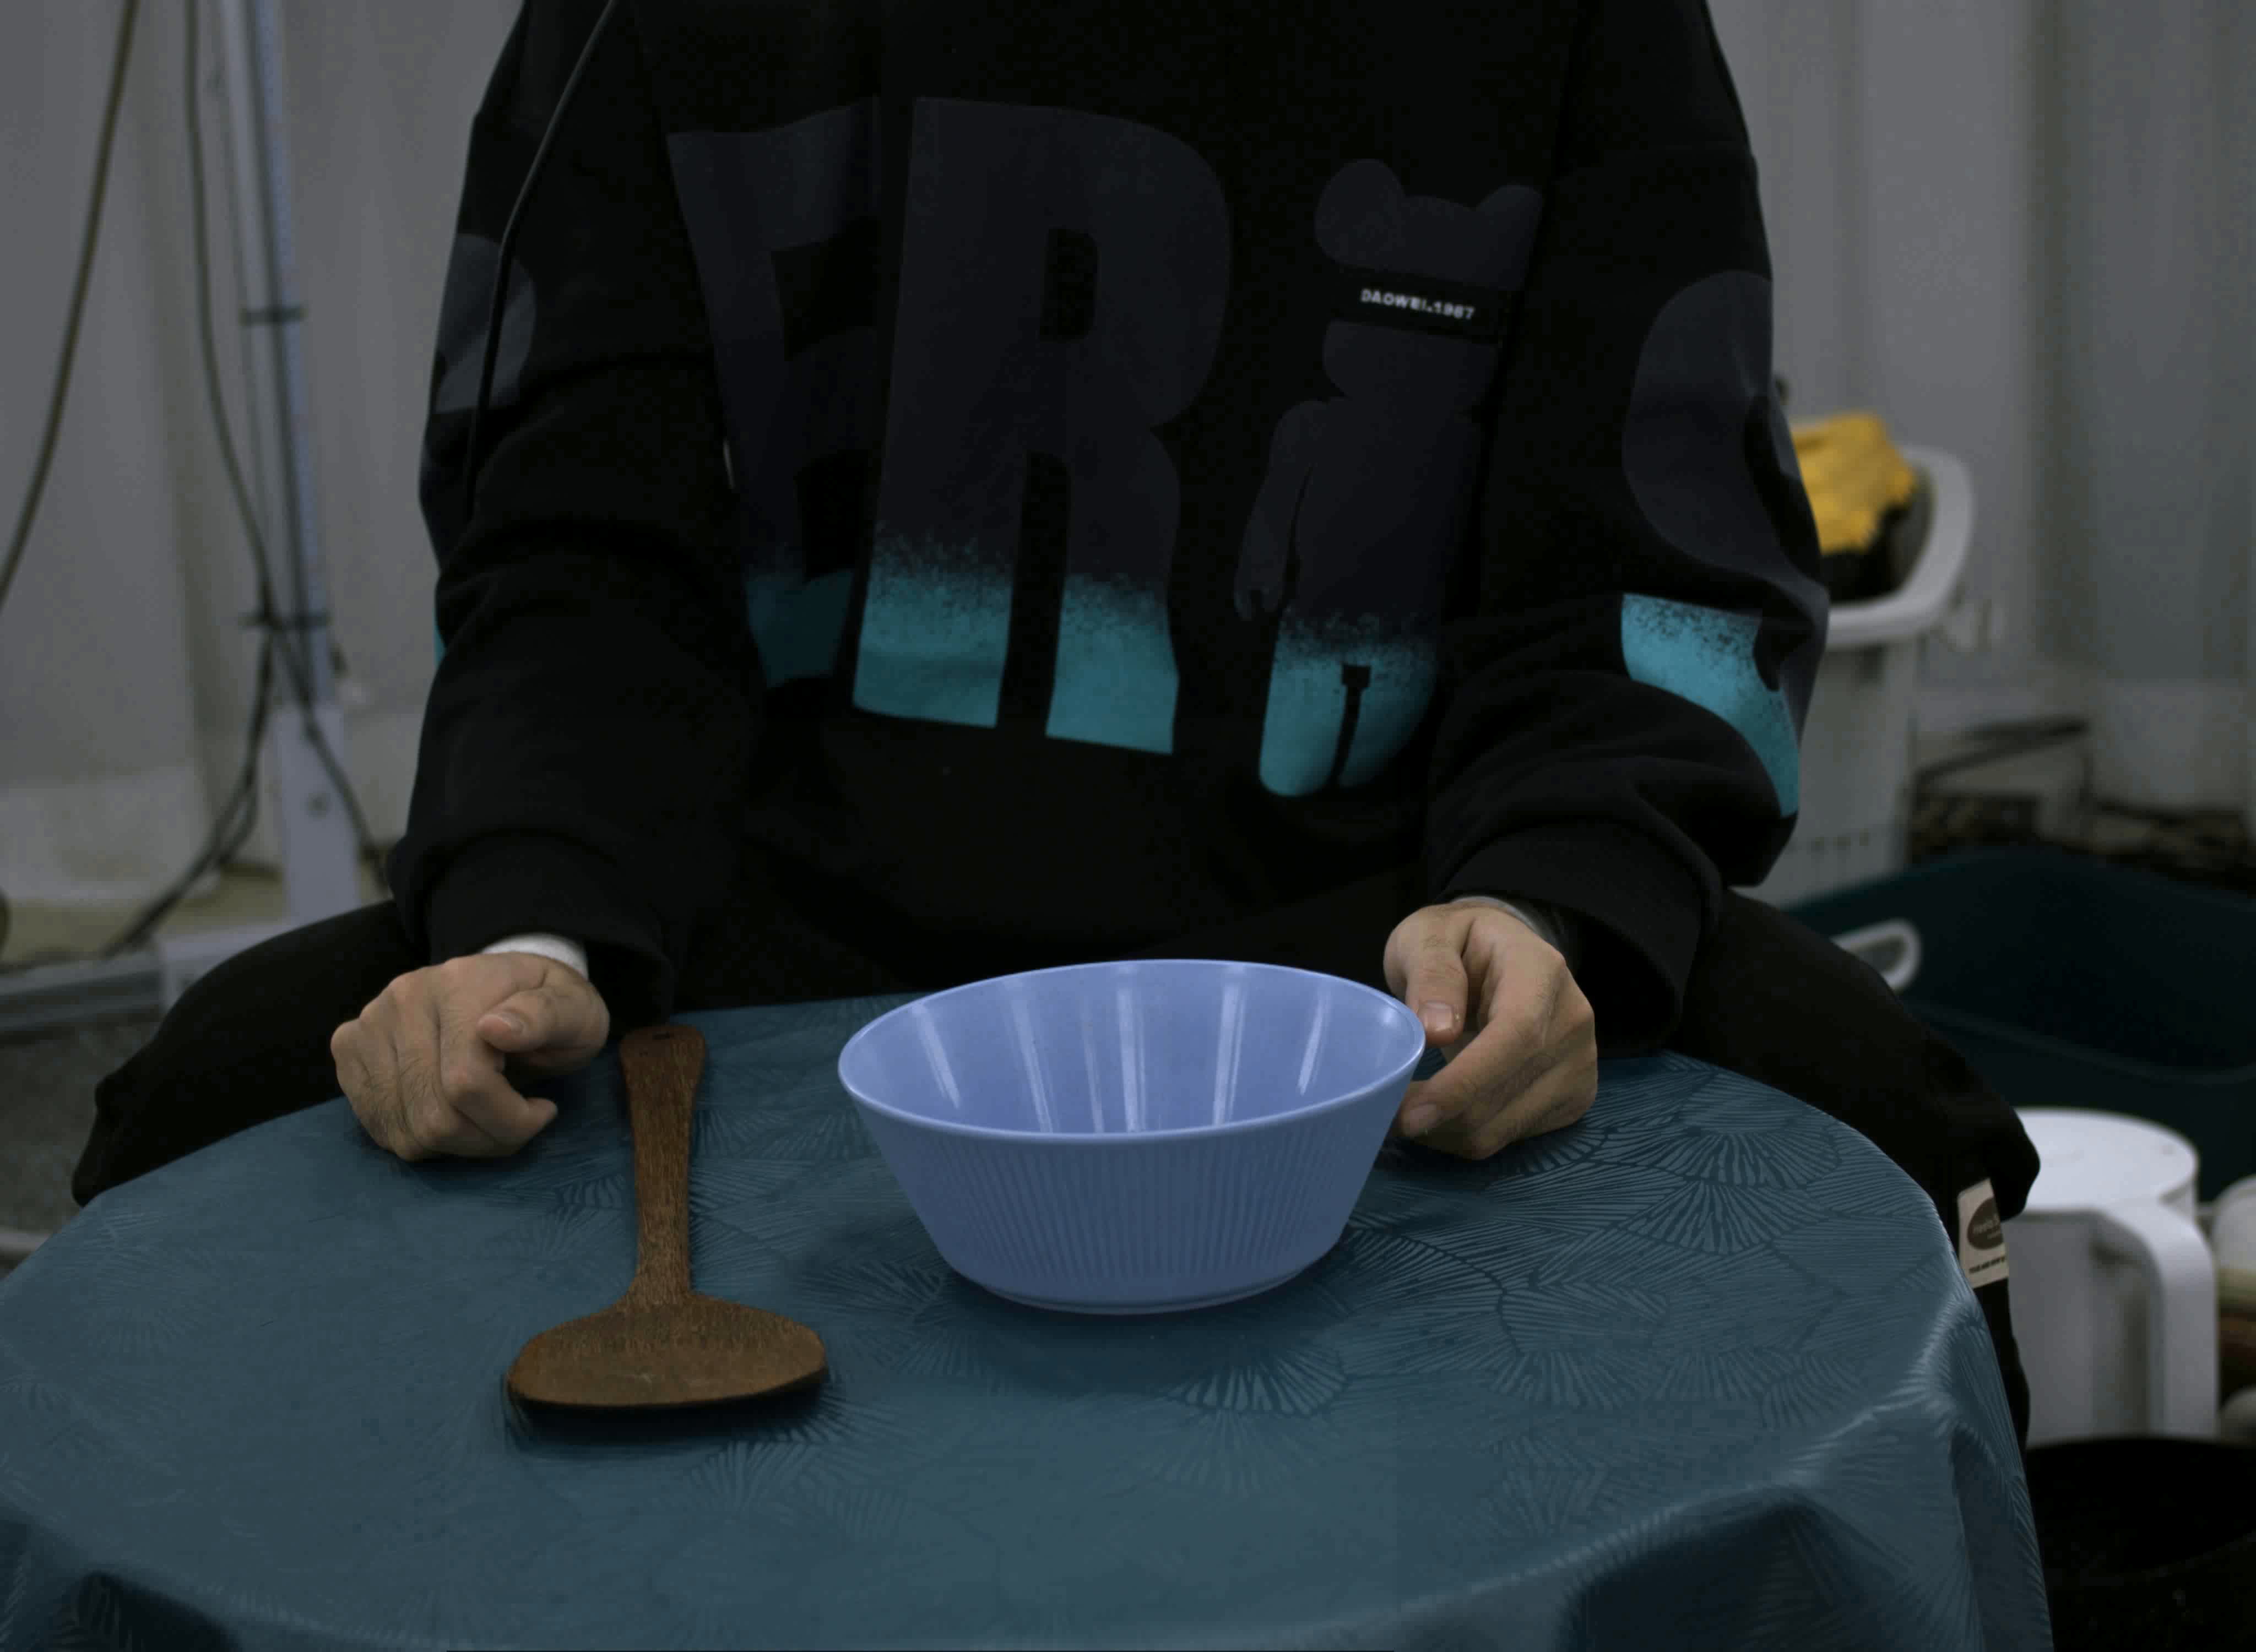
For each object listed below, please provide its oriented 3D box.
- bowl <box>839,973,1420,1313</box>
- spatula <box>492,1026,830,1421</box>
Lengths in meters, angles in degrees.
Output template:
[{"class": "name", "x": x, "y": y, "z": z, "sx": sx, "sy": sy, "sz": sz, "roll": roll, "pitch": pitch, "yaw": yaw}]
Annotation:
[{"class": "bowl", "x": 0.001, "y": 0.098, "z": 1.646, "sx": 0.175, "sy": 0.070, "sz": 0.177, "roll": -2, "pitch": 13, "yaw": 0}, {"class": "spatula", "x": -0.146, "y": 0.118, "z": 1.706, "sx": 0.096, "sy": 0.016, "sz": 0.389, "roll": -4, "pitch": 15, "yaw": -4}]
